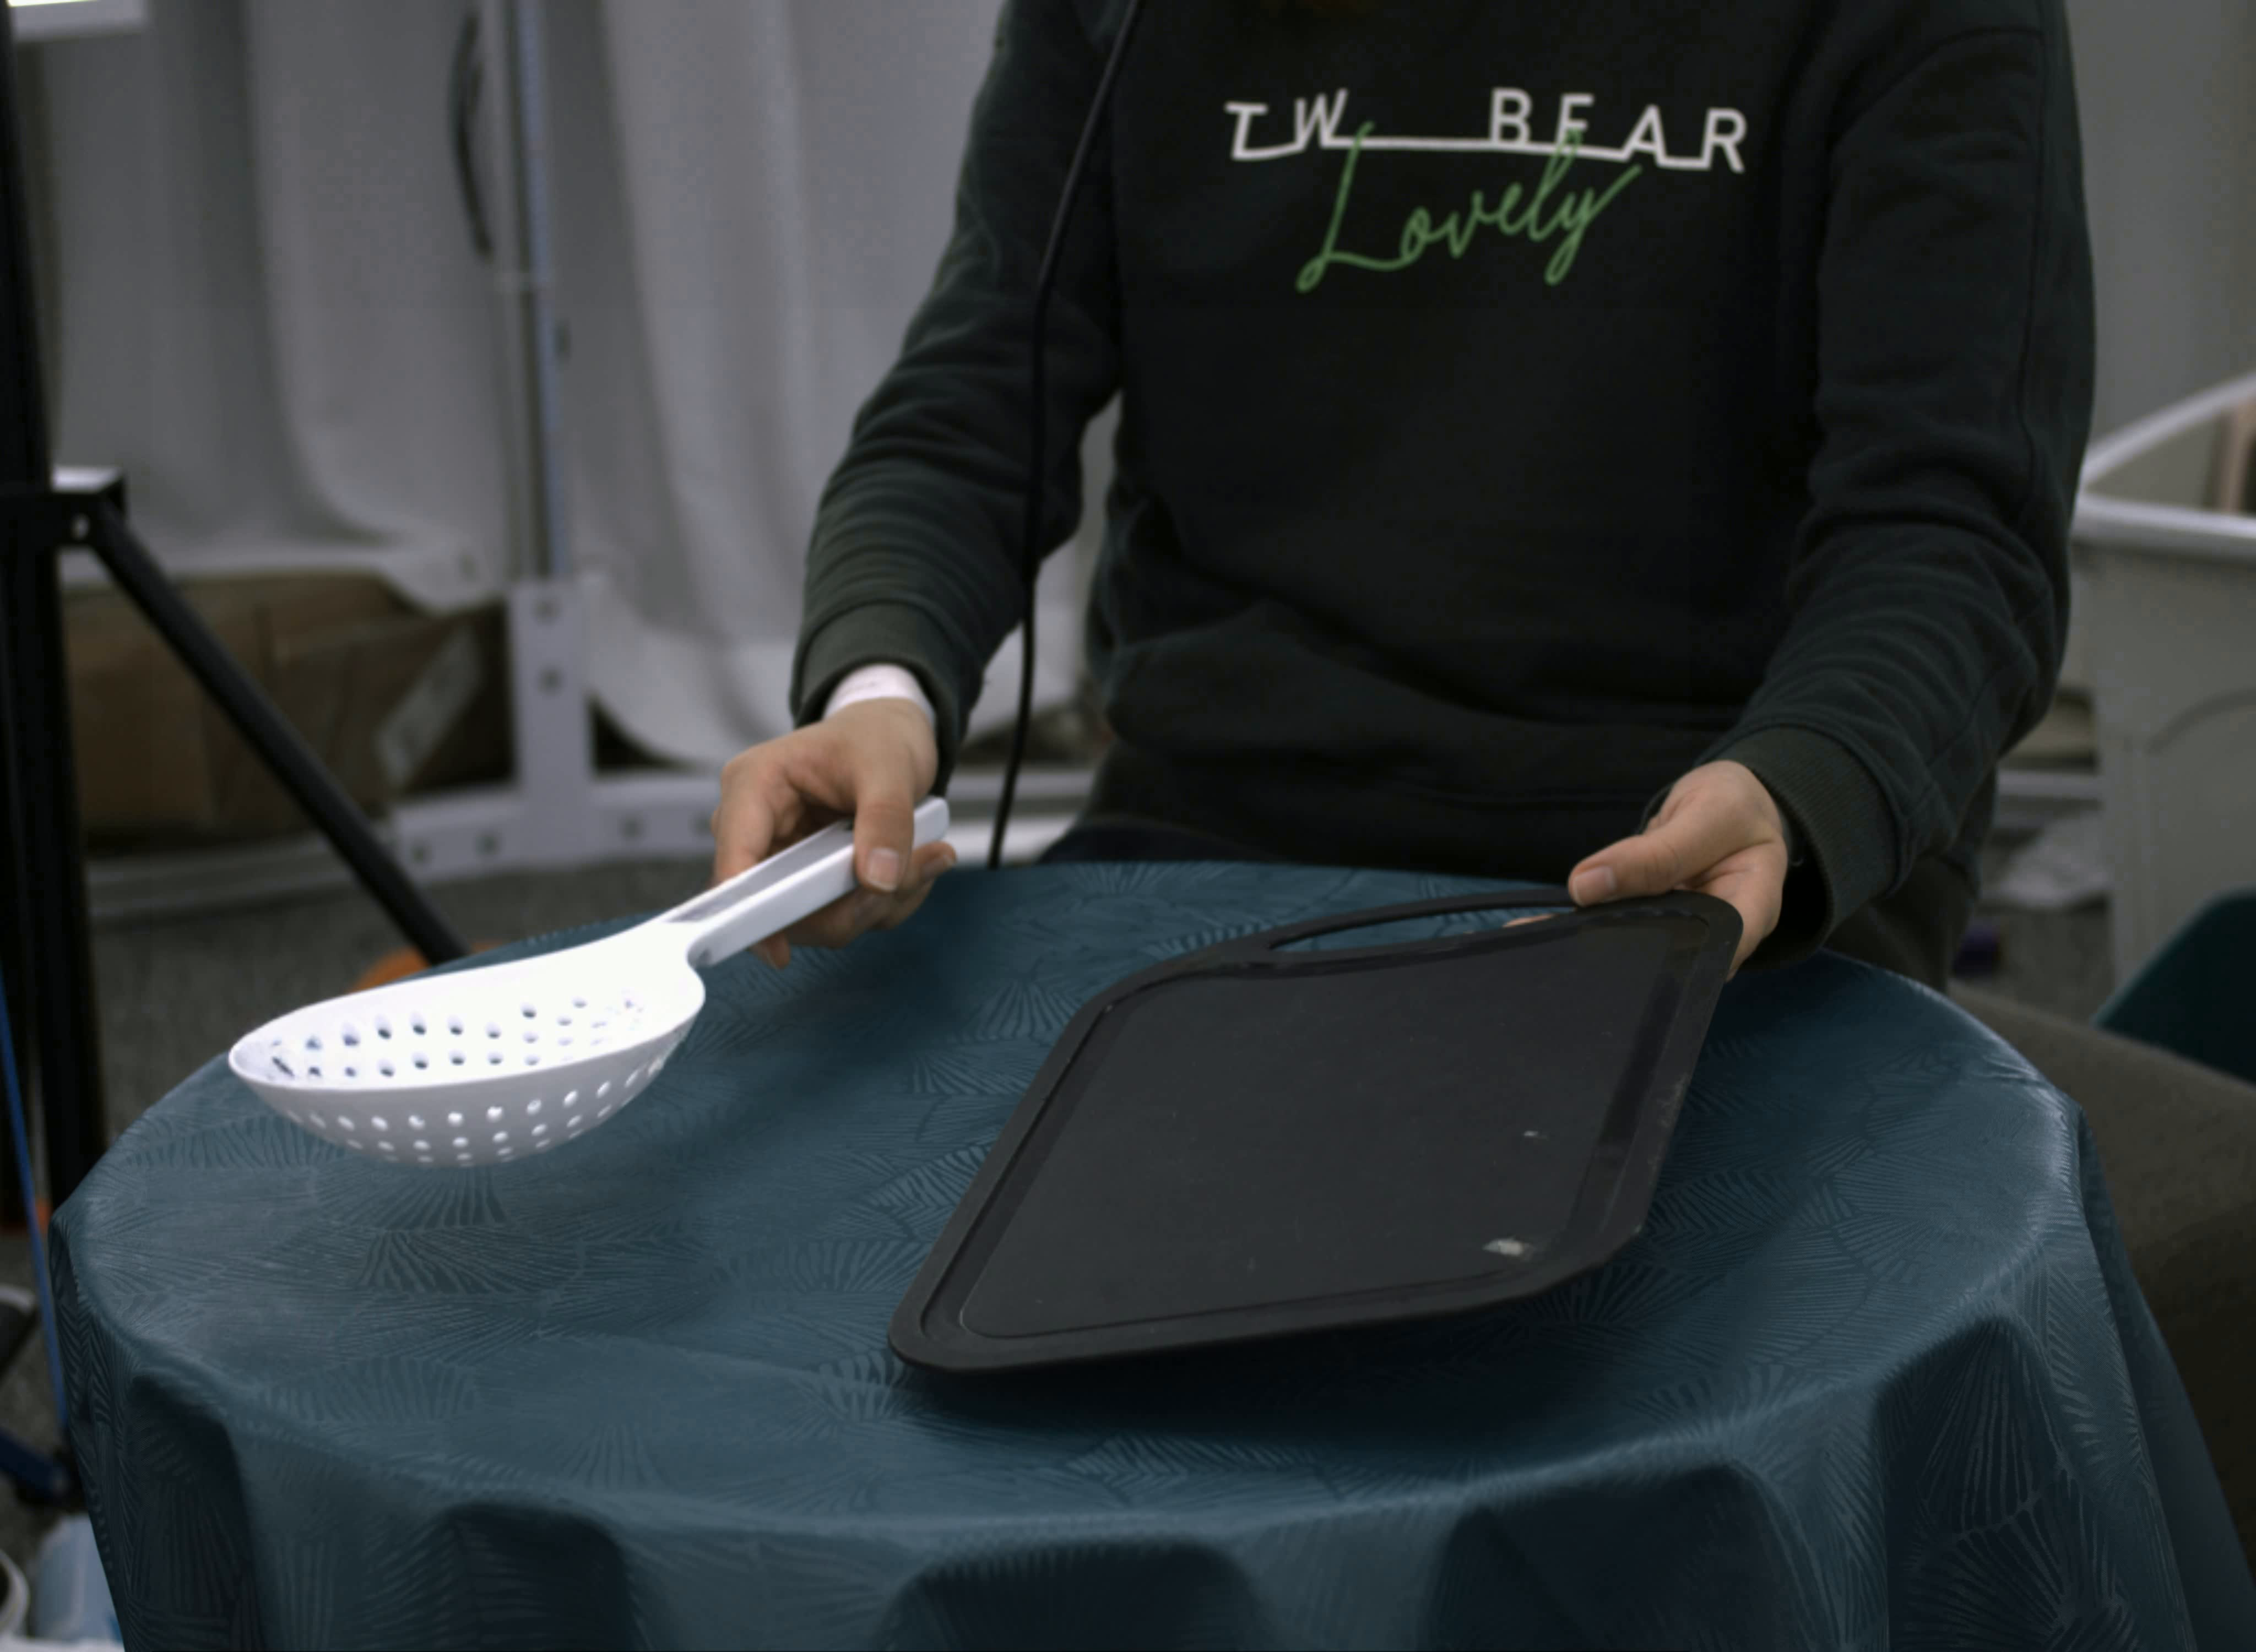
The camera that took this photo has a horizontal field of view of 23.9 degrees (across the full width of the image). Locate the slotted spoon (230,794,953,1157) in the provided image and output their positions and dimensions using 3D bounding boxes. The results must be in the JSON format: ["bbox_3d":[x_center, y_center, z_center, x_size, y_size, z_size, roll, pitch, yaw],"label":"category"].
[{"bbox_3d":[-0.142,0.036,1.618,0.138,0.045,0.345,0,18,26],"label":"slotted spoon"}]

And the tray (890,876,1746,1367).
[{"bbox_3d":[0.061,0.076,1.505,0.213,0.010,0.323,-9,18,17],"label":"tray"}]
